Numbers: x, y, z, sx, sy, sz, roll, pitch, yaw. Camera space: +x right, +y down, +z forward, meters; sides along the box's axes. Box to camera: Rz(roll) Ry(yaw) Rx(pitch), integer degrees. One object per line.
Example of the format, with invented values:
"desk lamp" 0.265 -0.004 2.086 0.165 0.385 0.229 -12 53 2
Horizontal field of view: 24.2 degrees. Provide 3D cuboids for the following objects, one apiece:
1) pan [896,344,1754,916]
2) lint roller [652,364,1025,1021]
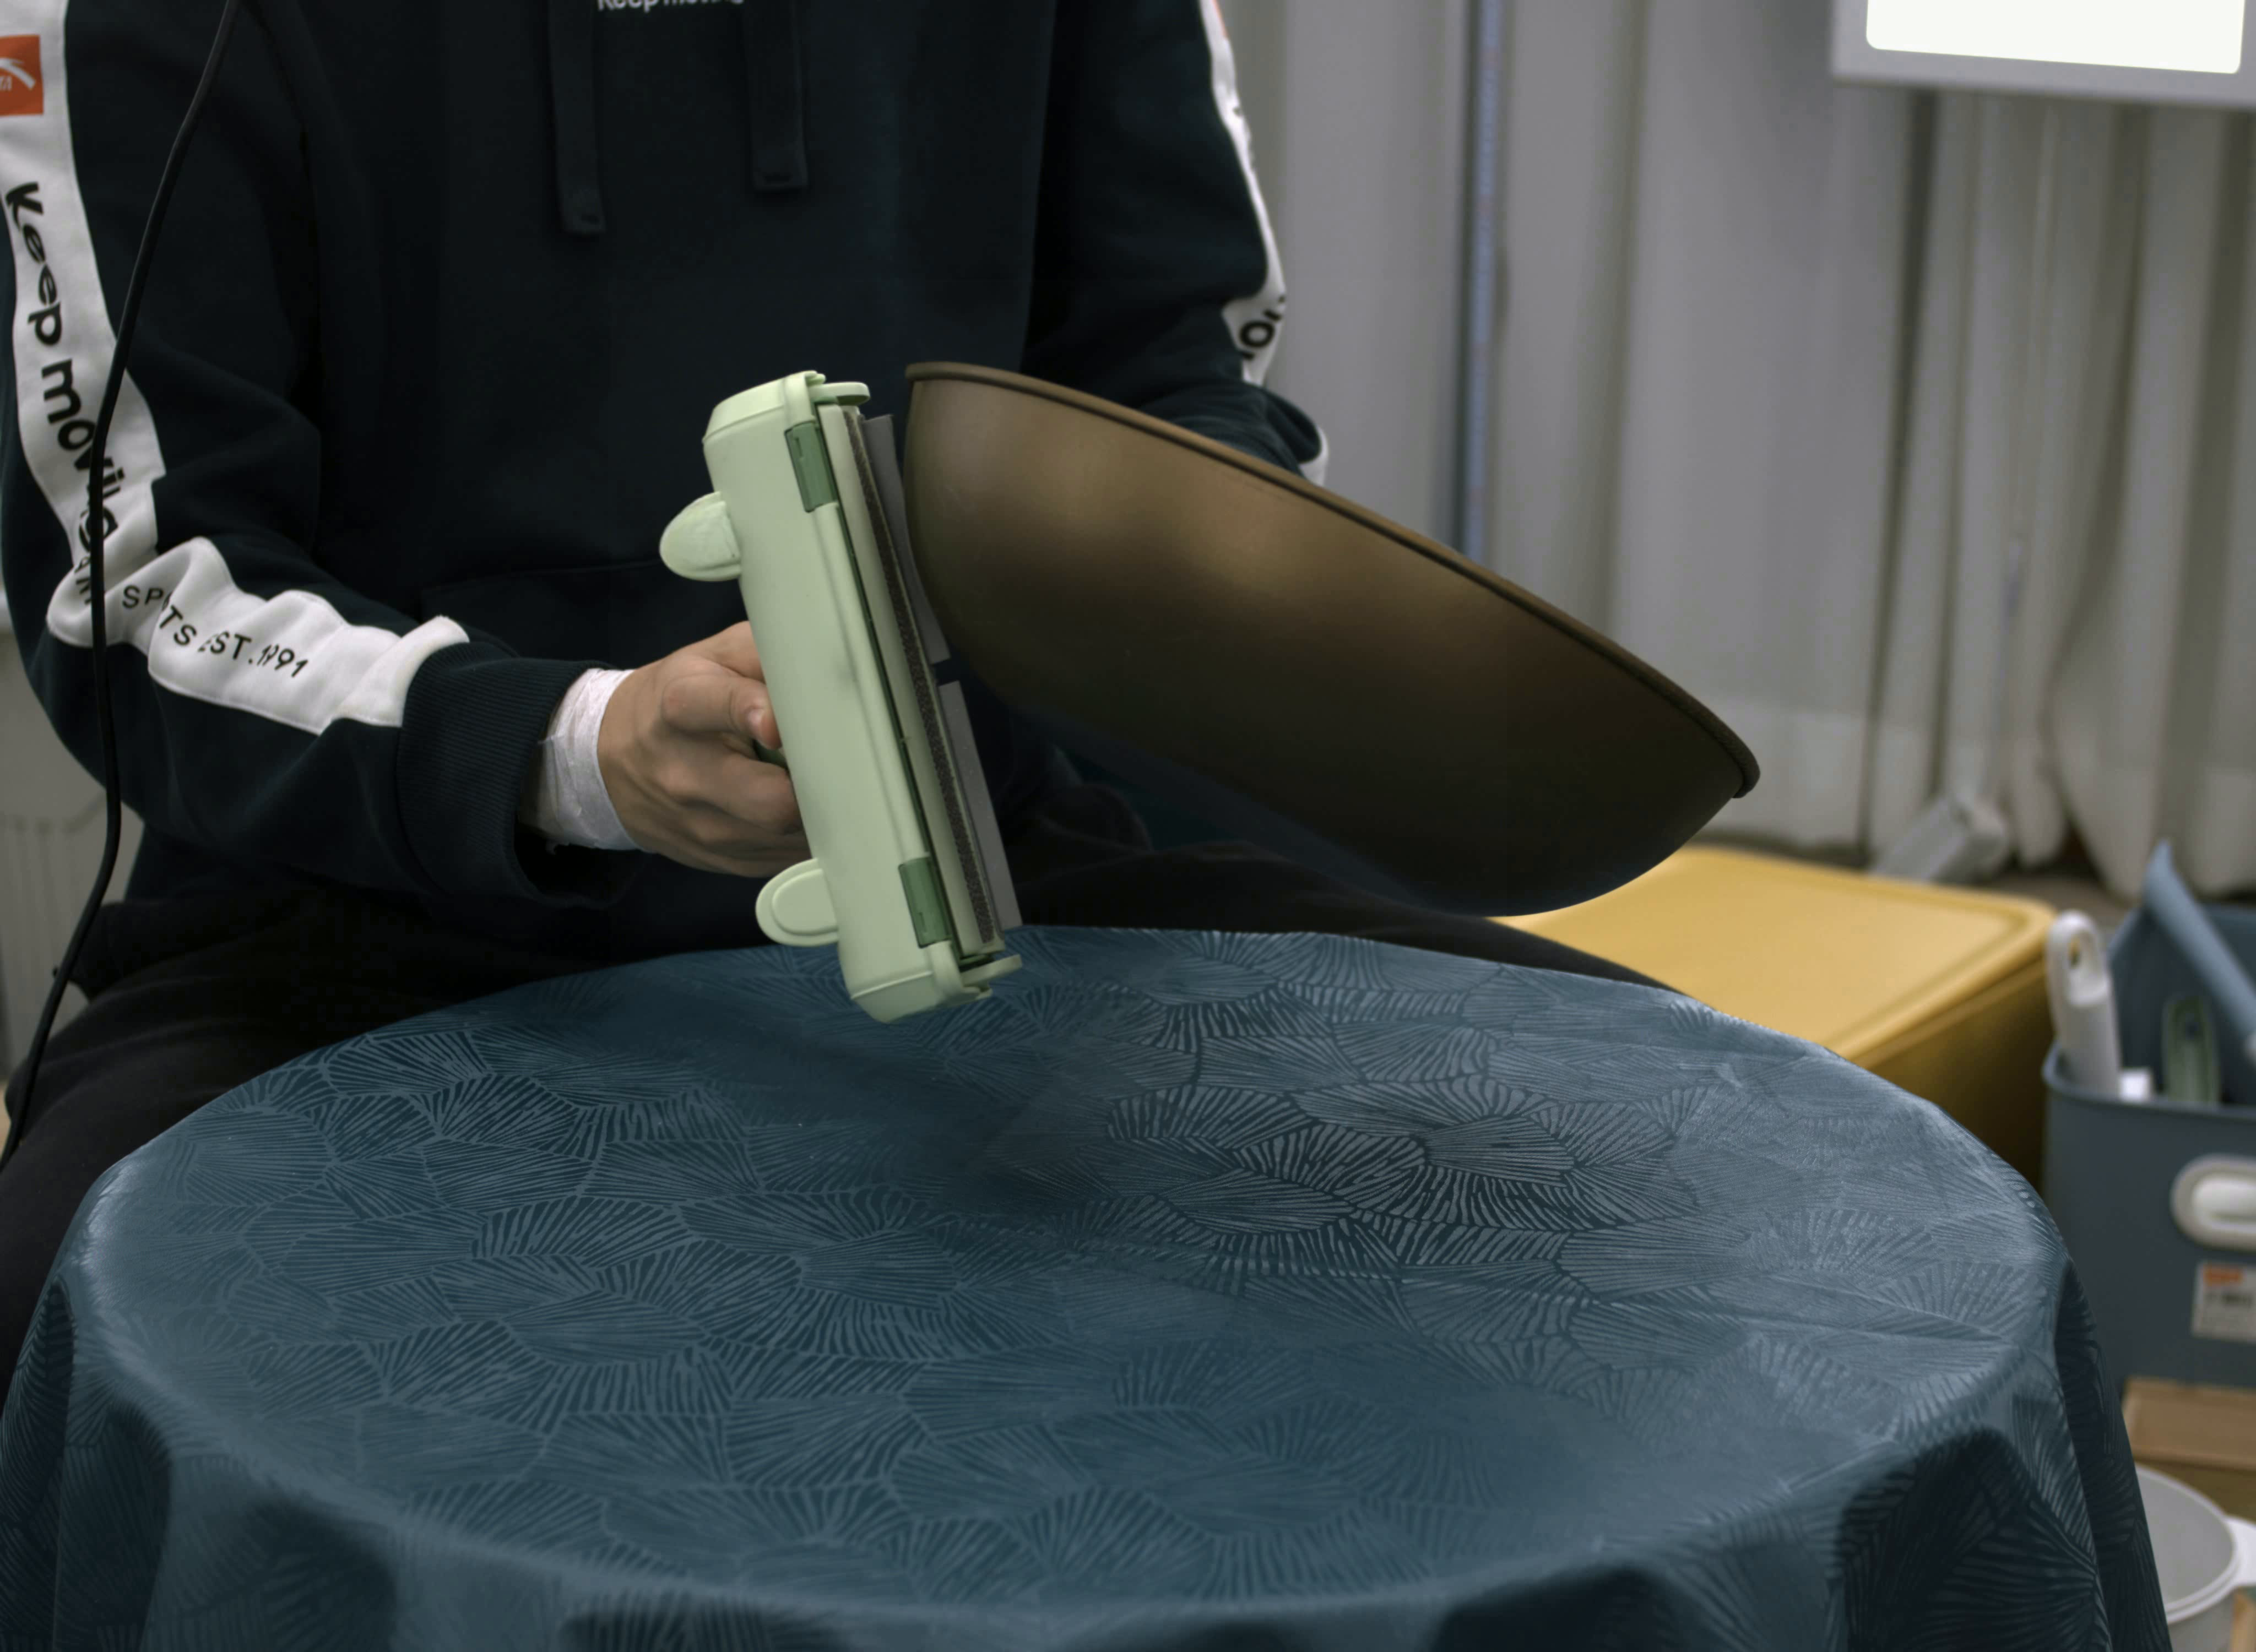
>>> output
"pan" 0.031 -0.041 1.670 0.288 0.087 0.462 26 -6 -7
"lint roller" -0.108 -0.028 1.639 0.082 0.199 0.182 -14 -5 -25
